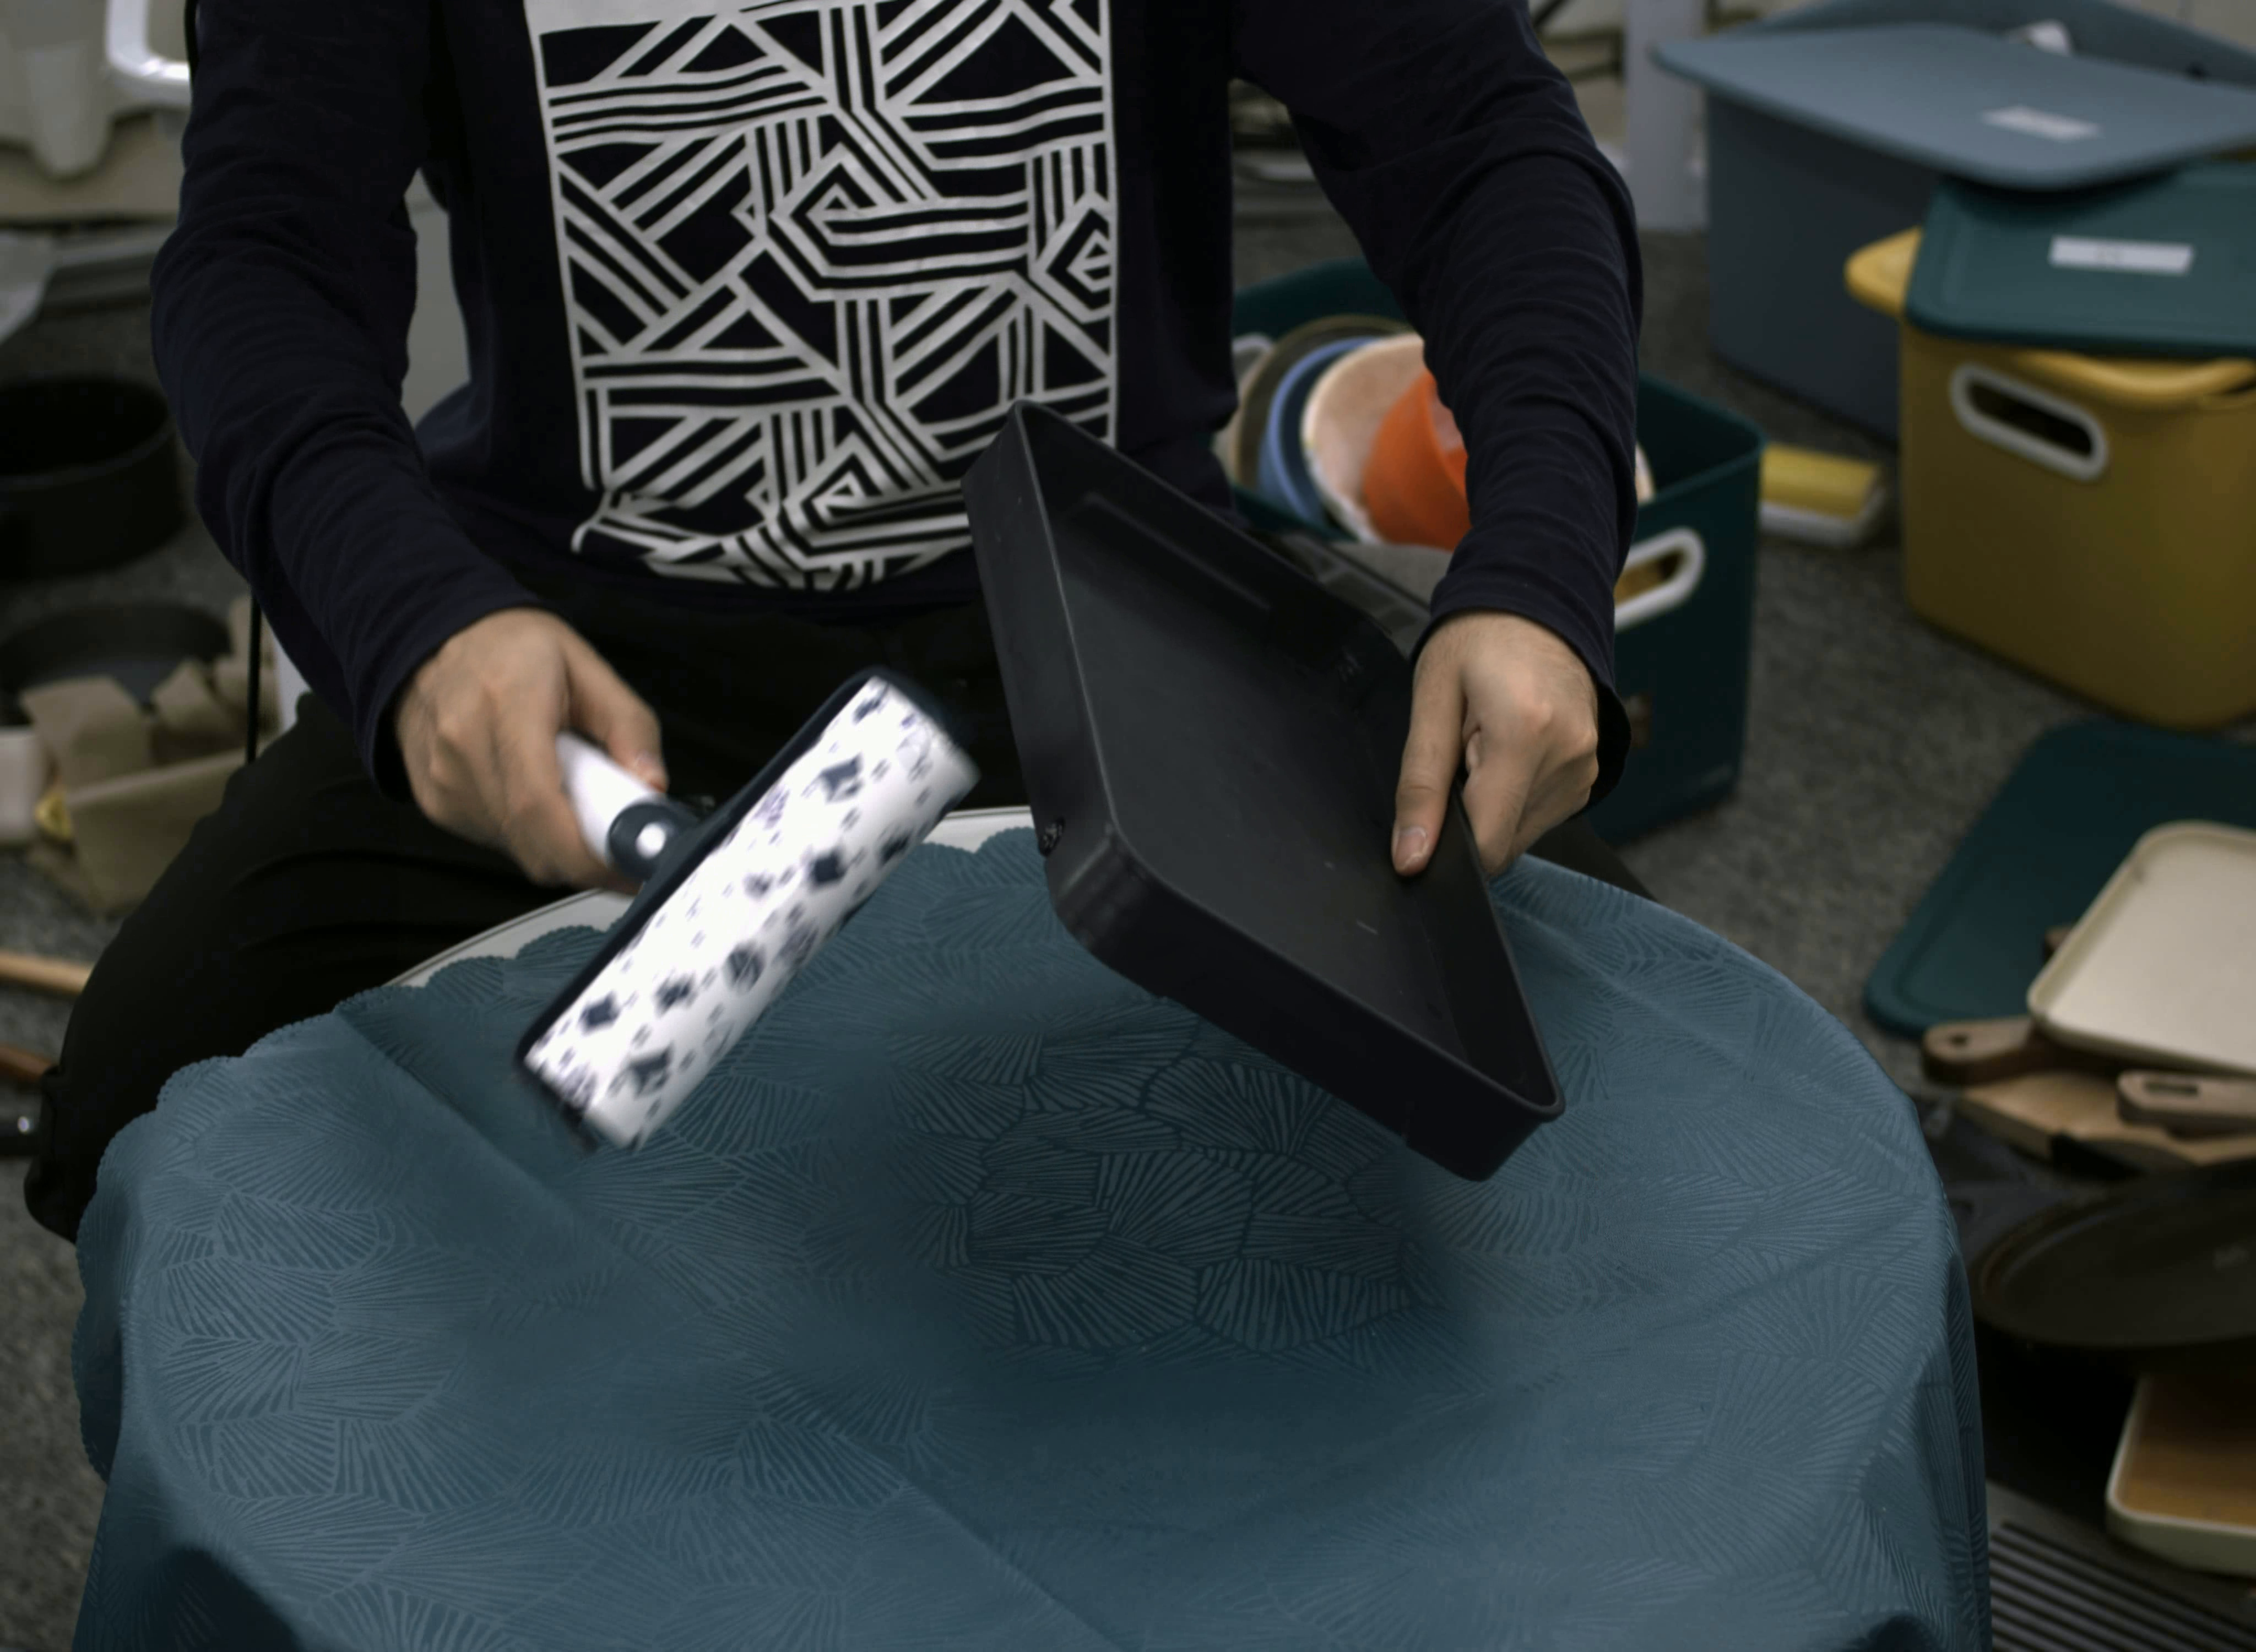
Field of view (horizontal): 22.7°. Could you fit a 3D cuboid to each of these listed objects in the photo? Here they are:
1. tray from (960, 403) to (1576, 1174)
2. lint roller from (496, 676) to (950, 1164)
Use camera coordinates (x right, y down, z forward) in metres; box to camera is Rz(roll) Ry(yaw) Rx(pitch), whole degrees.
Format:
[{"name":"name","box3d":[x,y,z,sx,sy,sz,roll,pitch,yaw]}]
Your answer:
[{"name":"tray","box3d":[0.040,-0.018,1.845,0.183,0.036,0.322,32,20,-23]},{"name":"lint roller","box3d":[-0.166,0.006,1.842,0.177,0.050,0.247,-49,30,-7]}]
